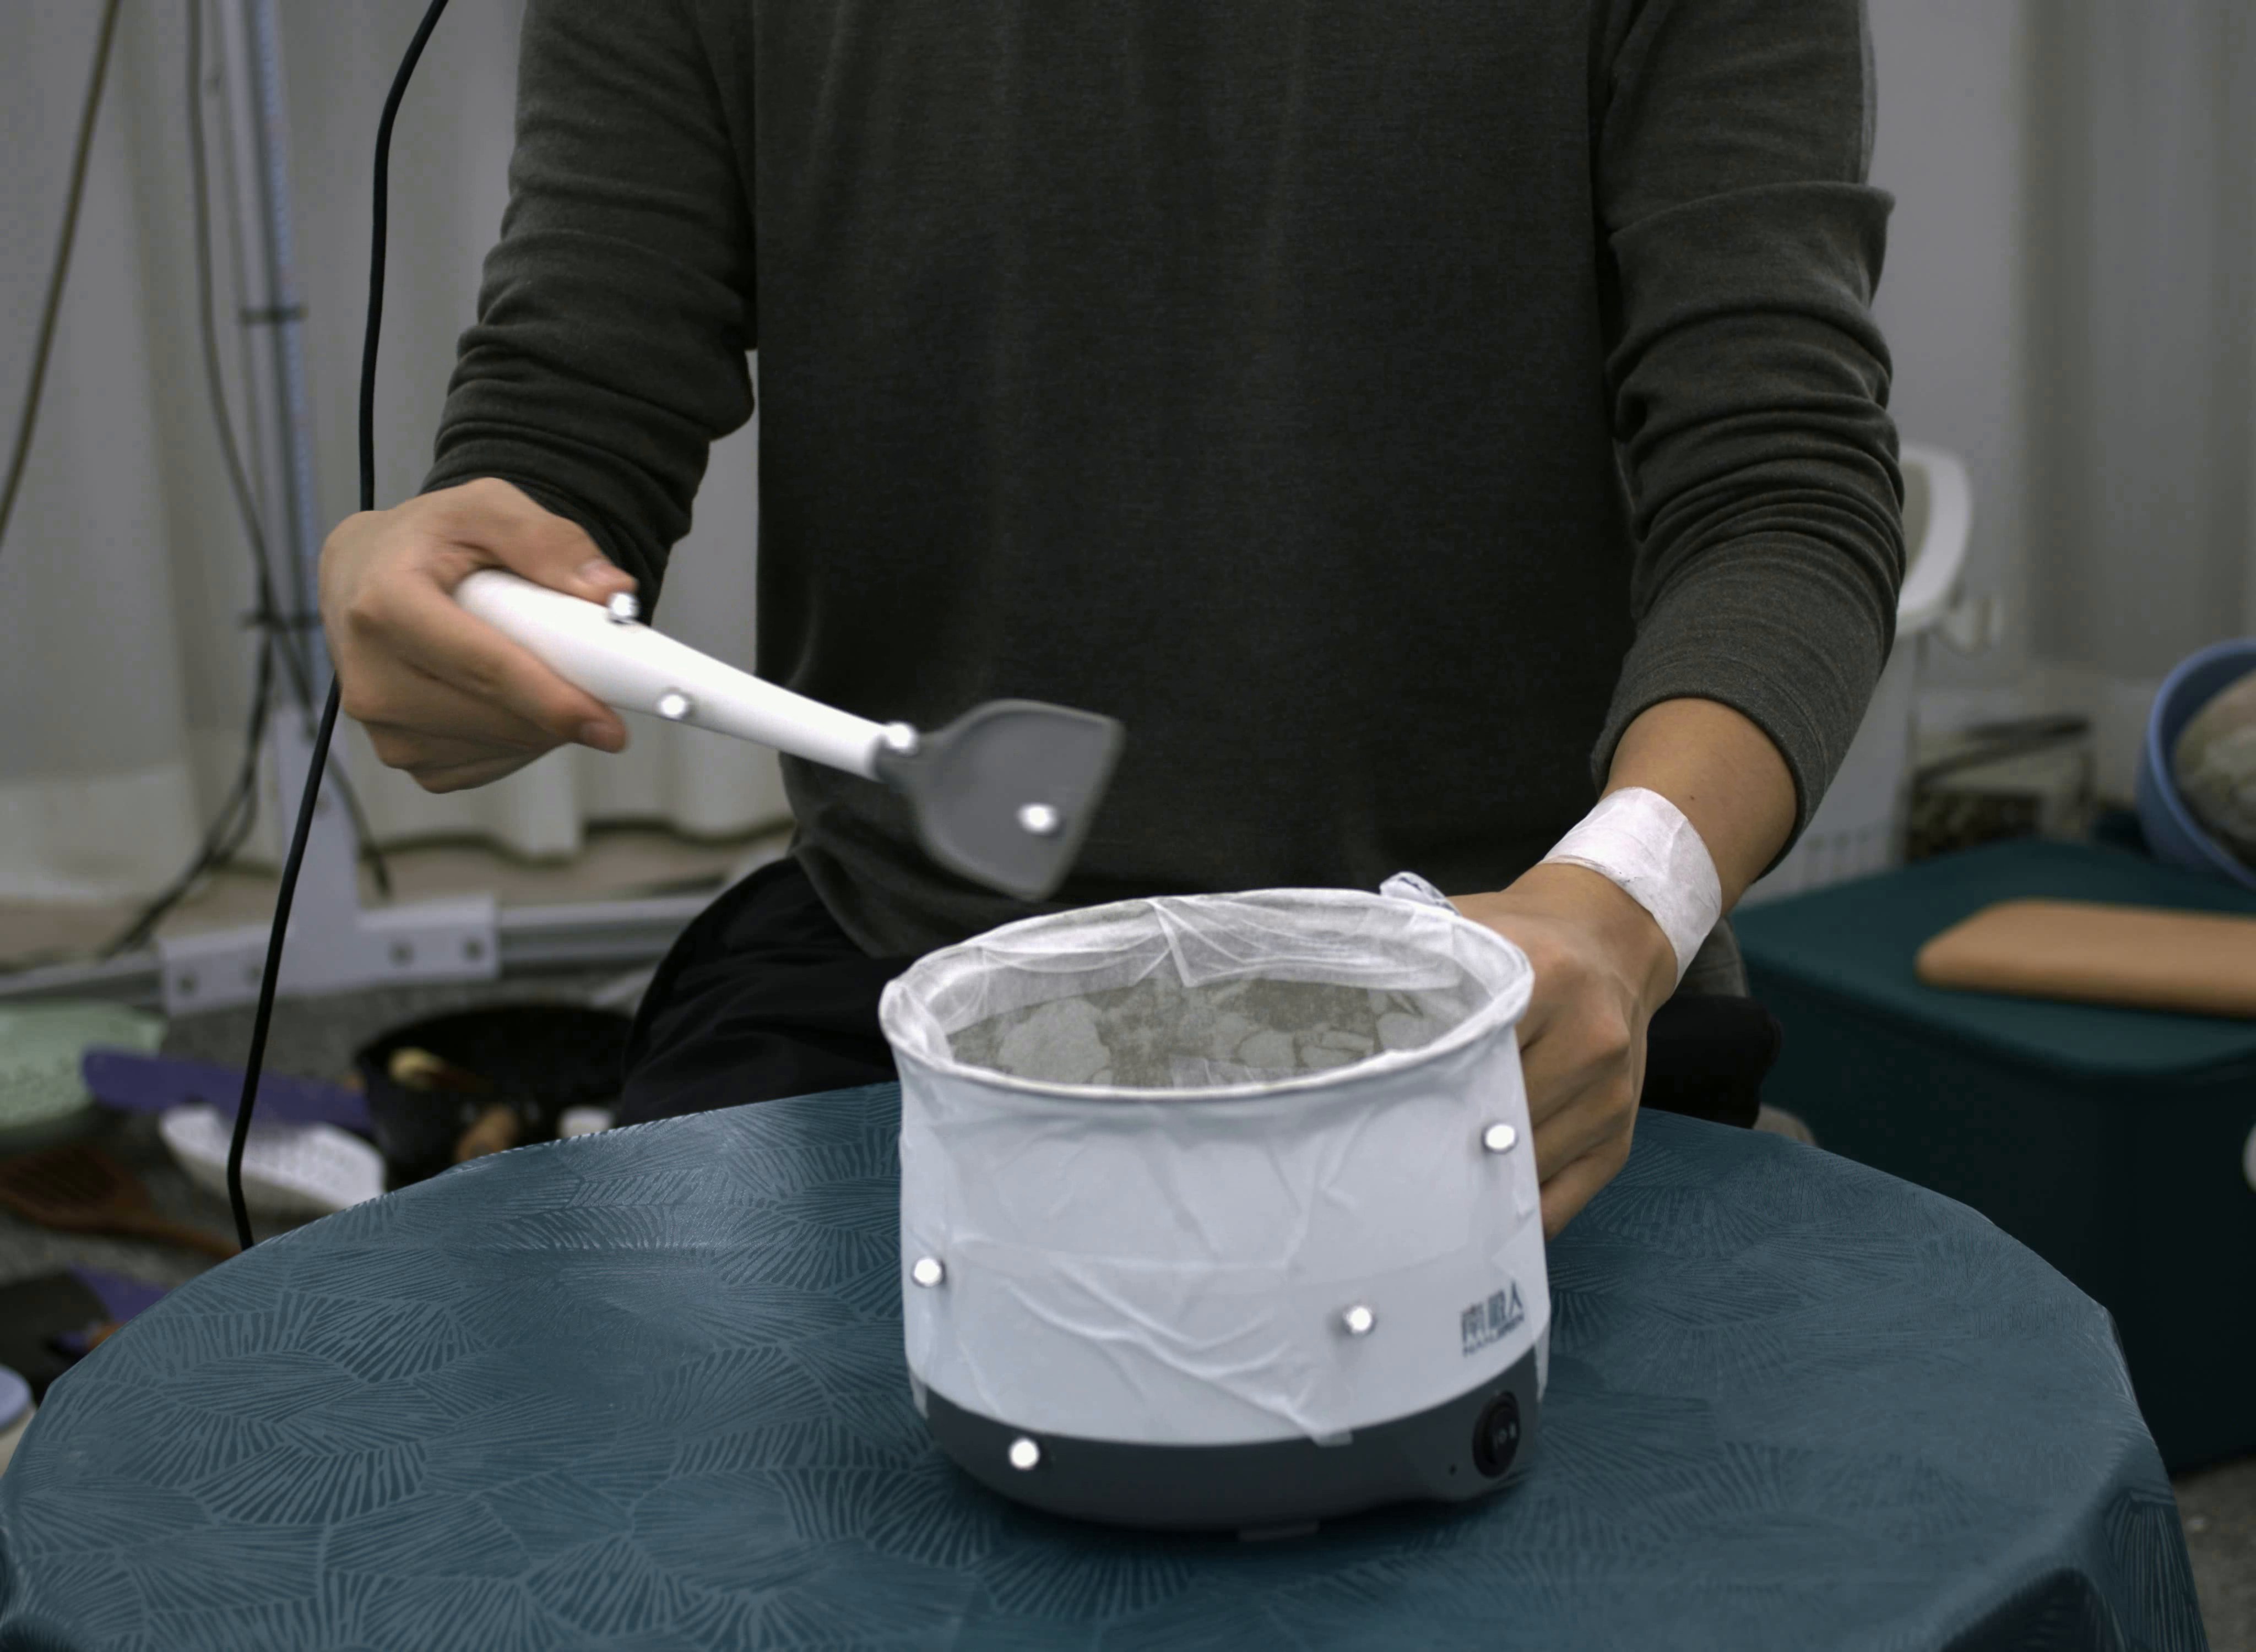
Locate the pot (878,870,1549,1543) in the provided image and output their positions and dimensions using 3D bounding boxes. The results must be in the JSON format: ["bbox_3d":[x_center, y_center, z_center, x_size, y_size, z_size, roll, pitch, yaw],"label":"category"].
[{"bbox_3d":[0.040,0.096,1.505,0.179,0.136,0.234,7,19,34],"label":"pot"}]

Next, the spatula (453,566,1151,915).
[{"bbox_3d":[-0.092,-0.030,1.526,0.289,0.059,0.032,18,-13,45],"label":"spatula"}]
